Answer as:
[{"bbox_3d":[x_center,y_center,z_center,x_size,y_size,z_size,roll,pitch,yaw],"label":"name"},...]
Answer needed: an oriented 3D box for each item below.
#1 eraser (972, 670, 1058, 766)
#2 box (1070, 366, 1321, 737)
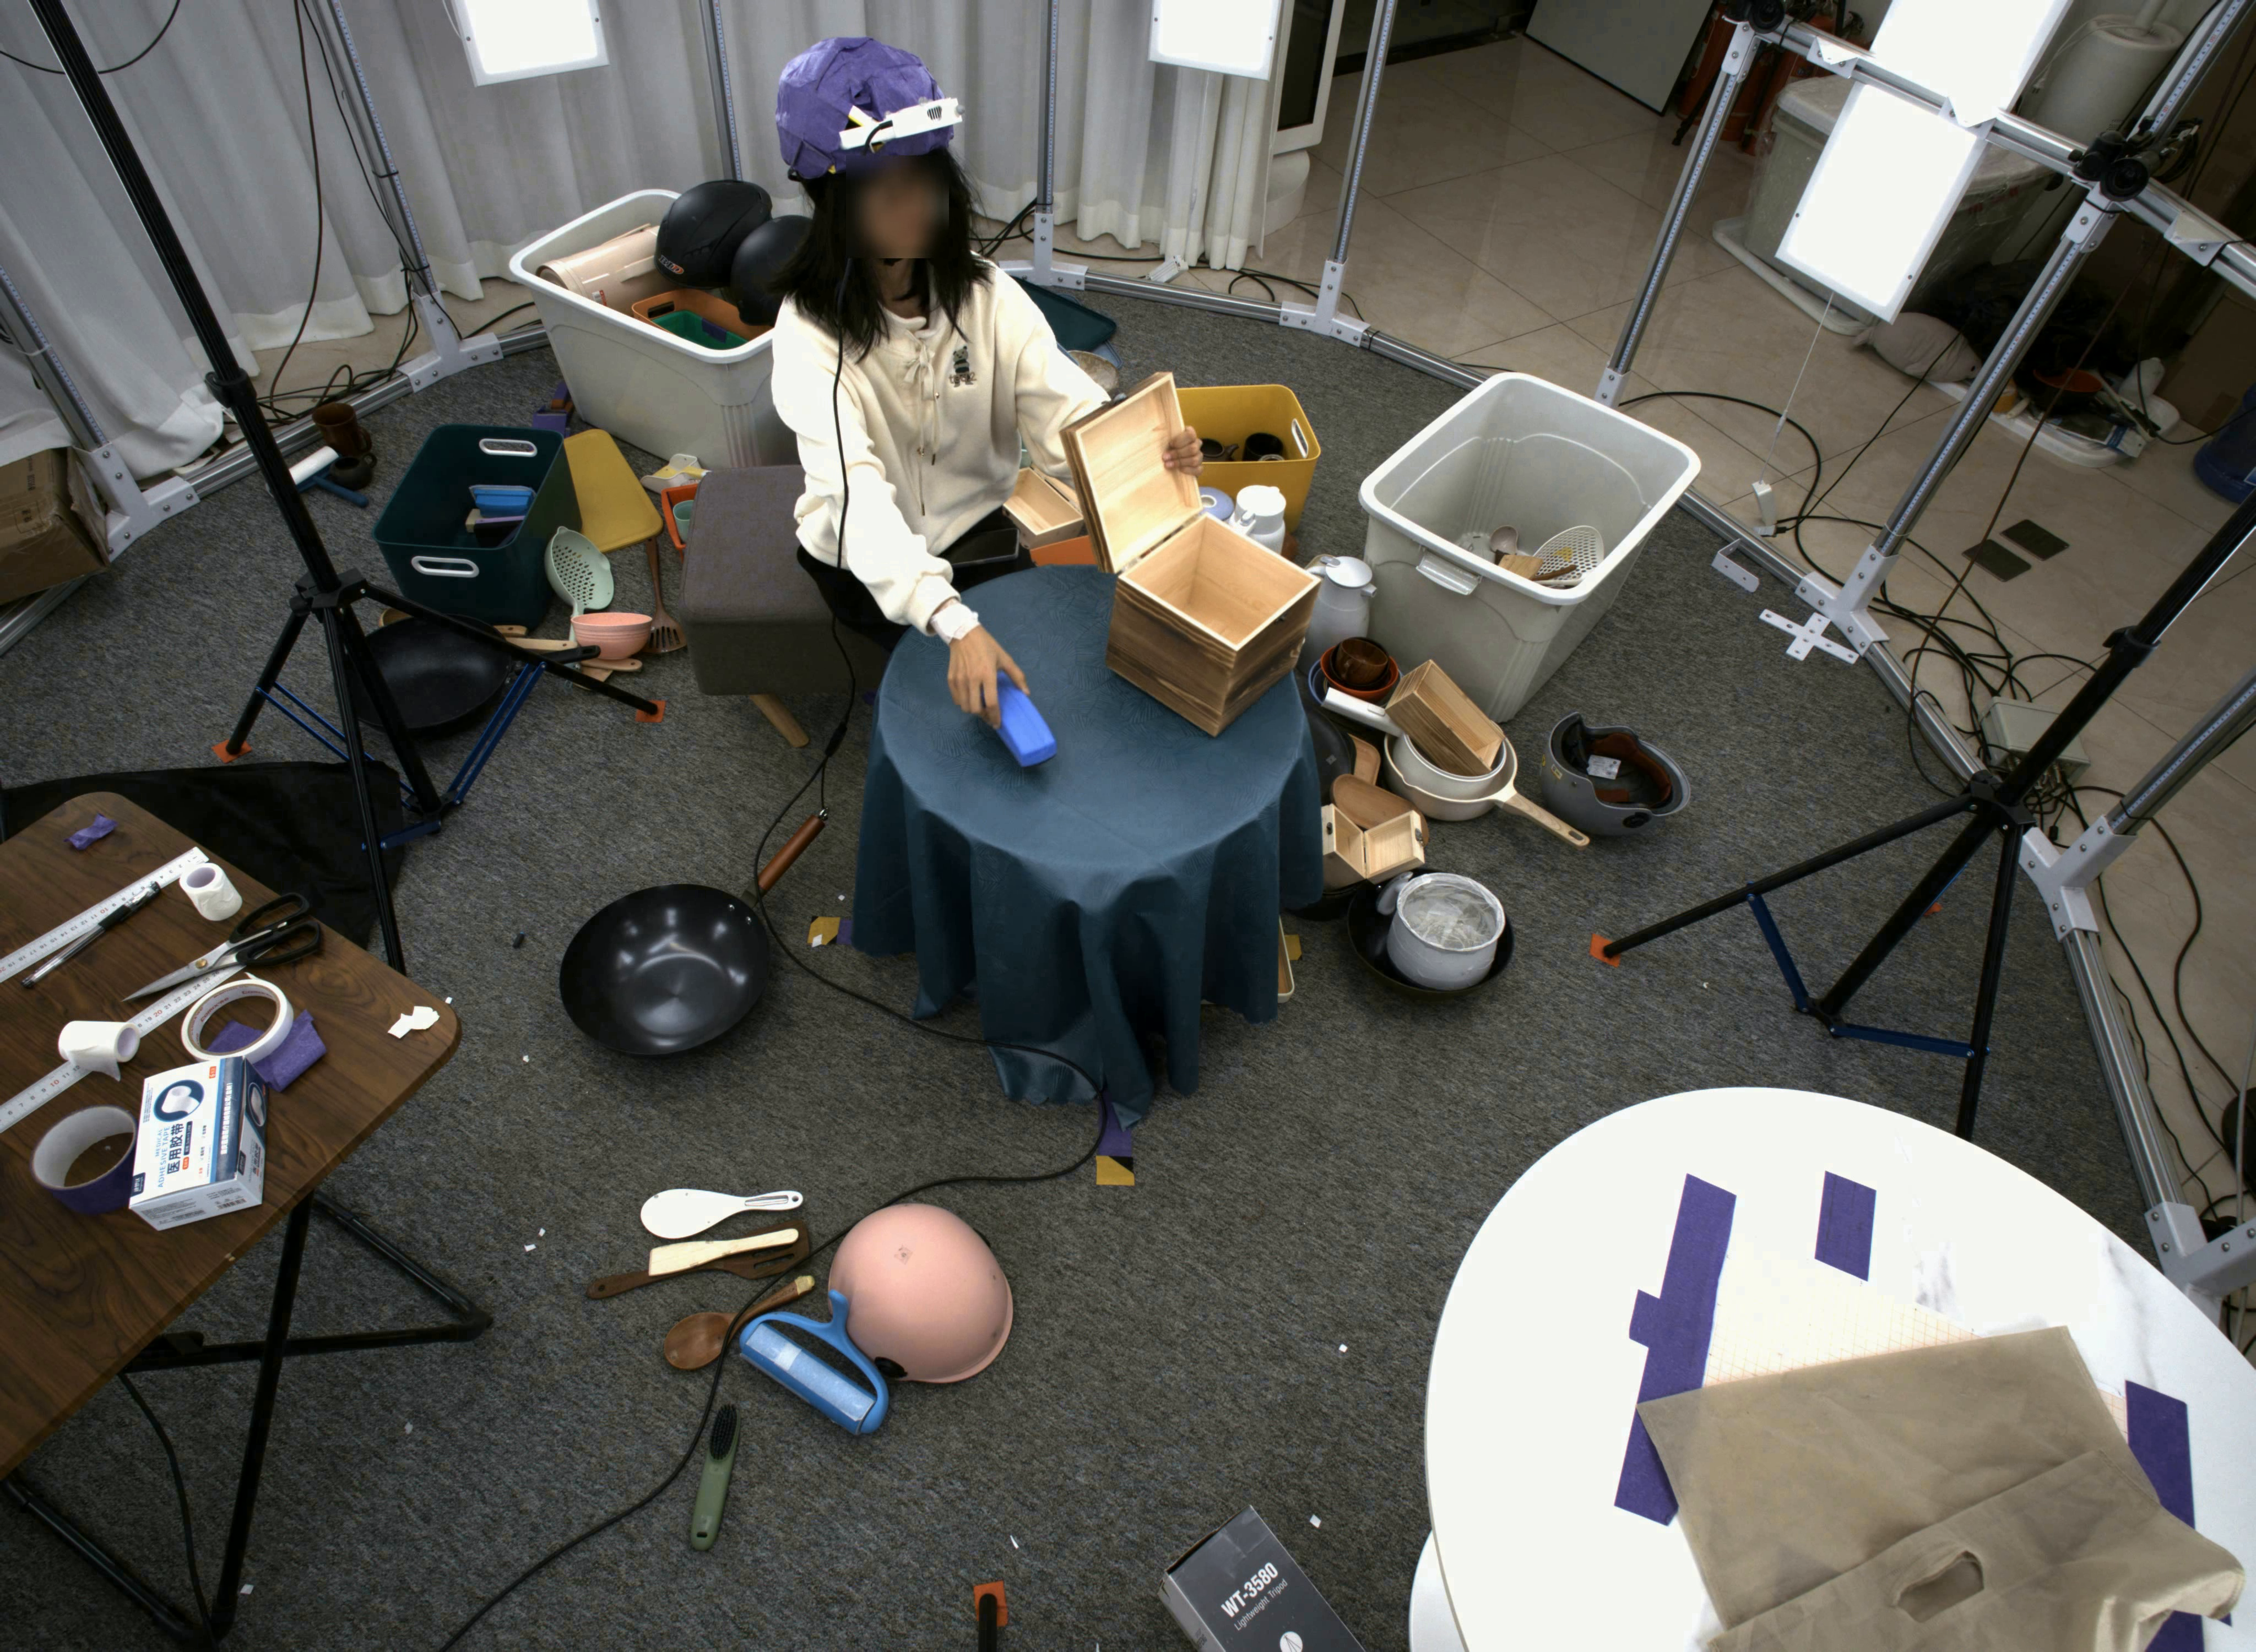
[{"bbox_3d":[-0.153,-0.151,1.721,0.054,0.046,0.165,-24,53,-19],"label":"eraser"},{"bbox_3d":[0.086,-0.372,1.751,0.326,0.366,0.211,35,55,20],"label":"box"}]
